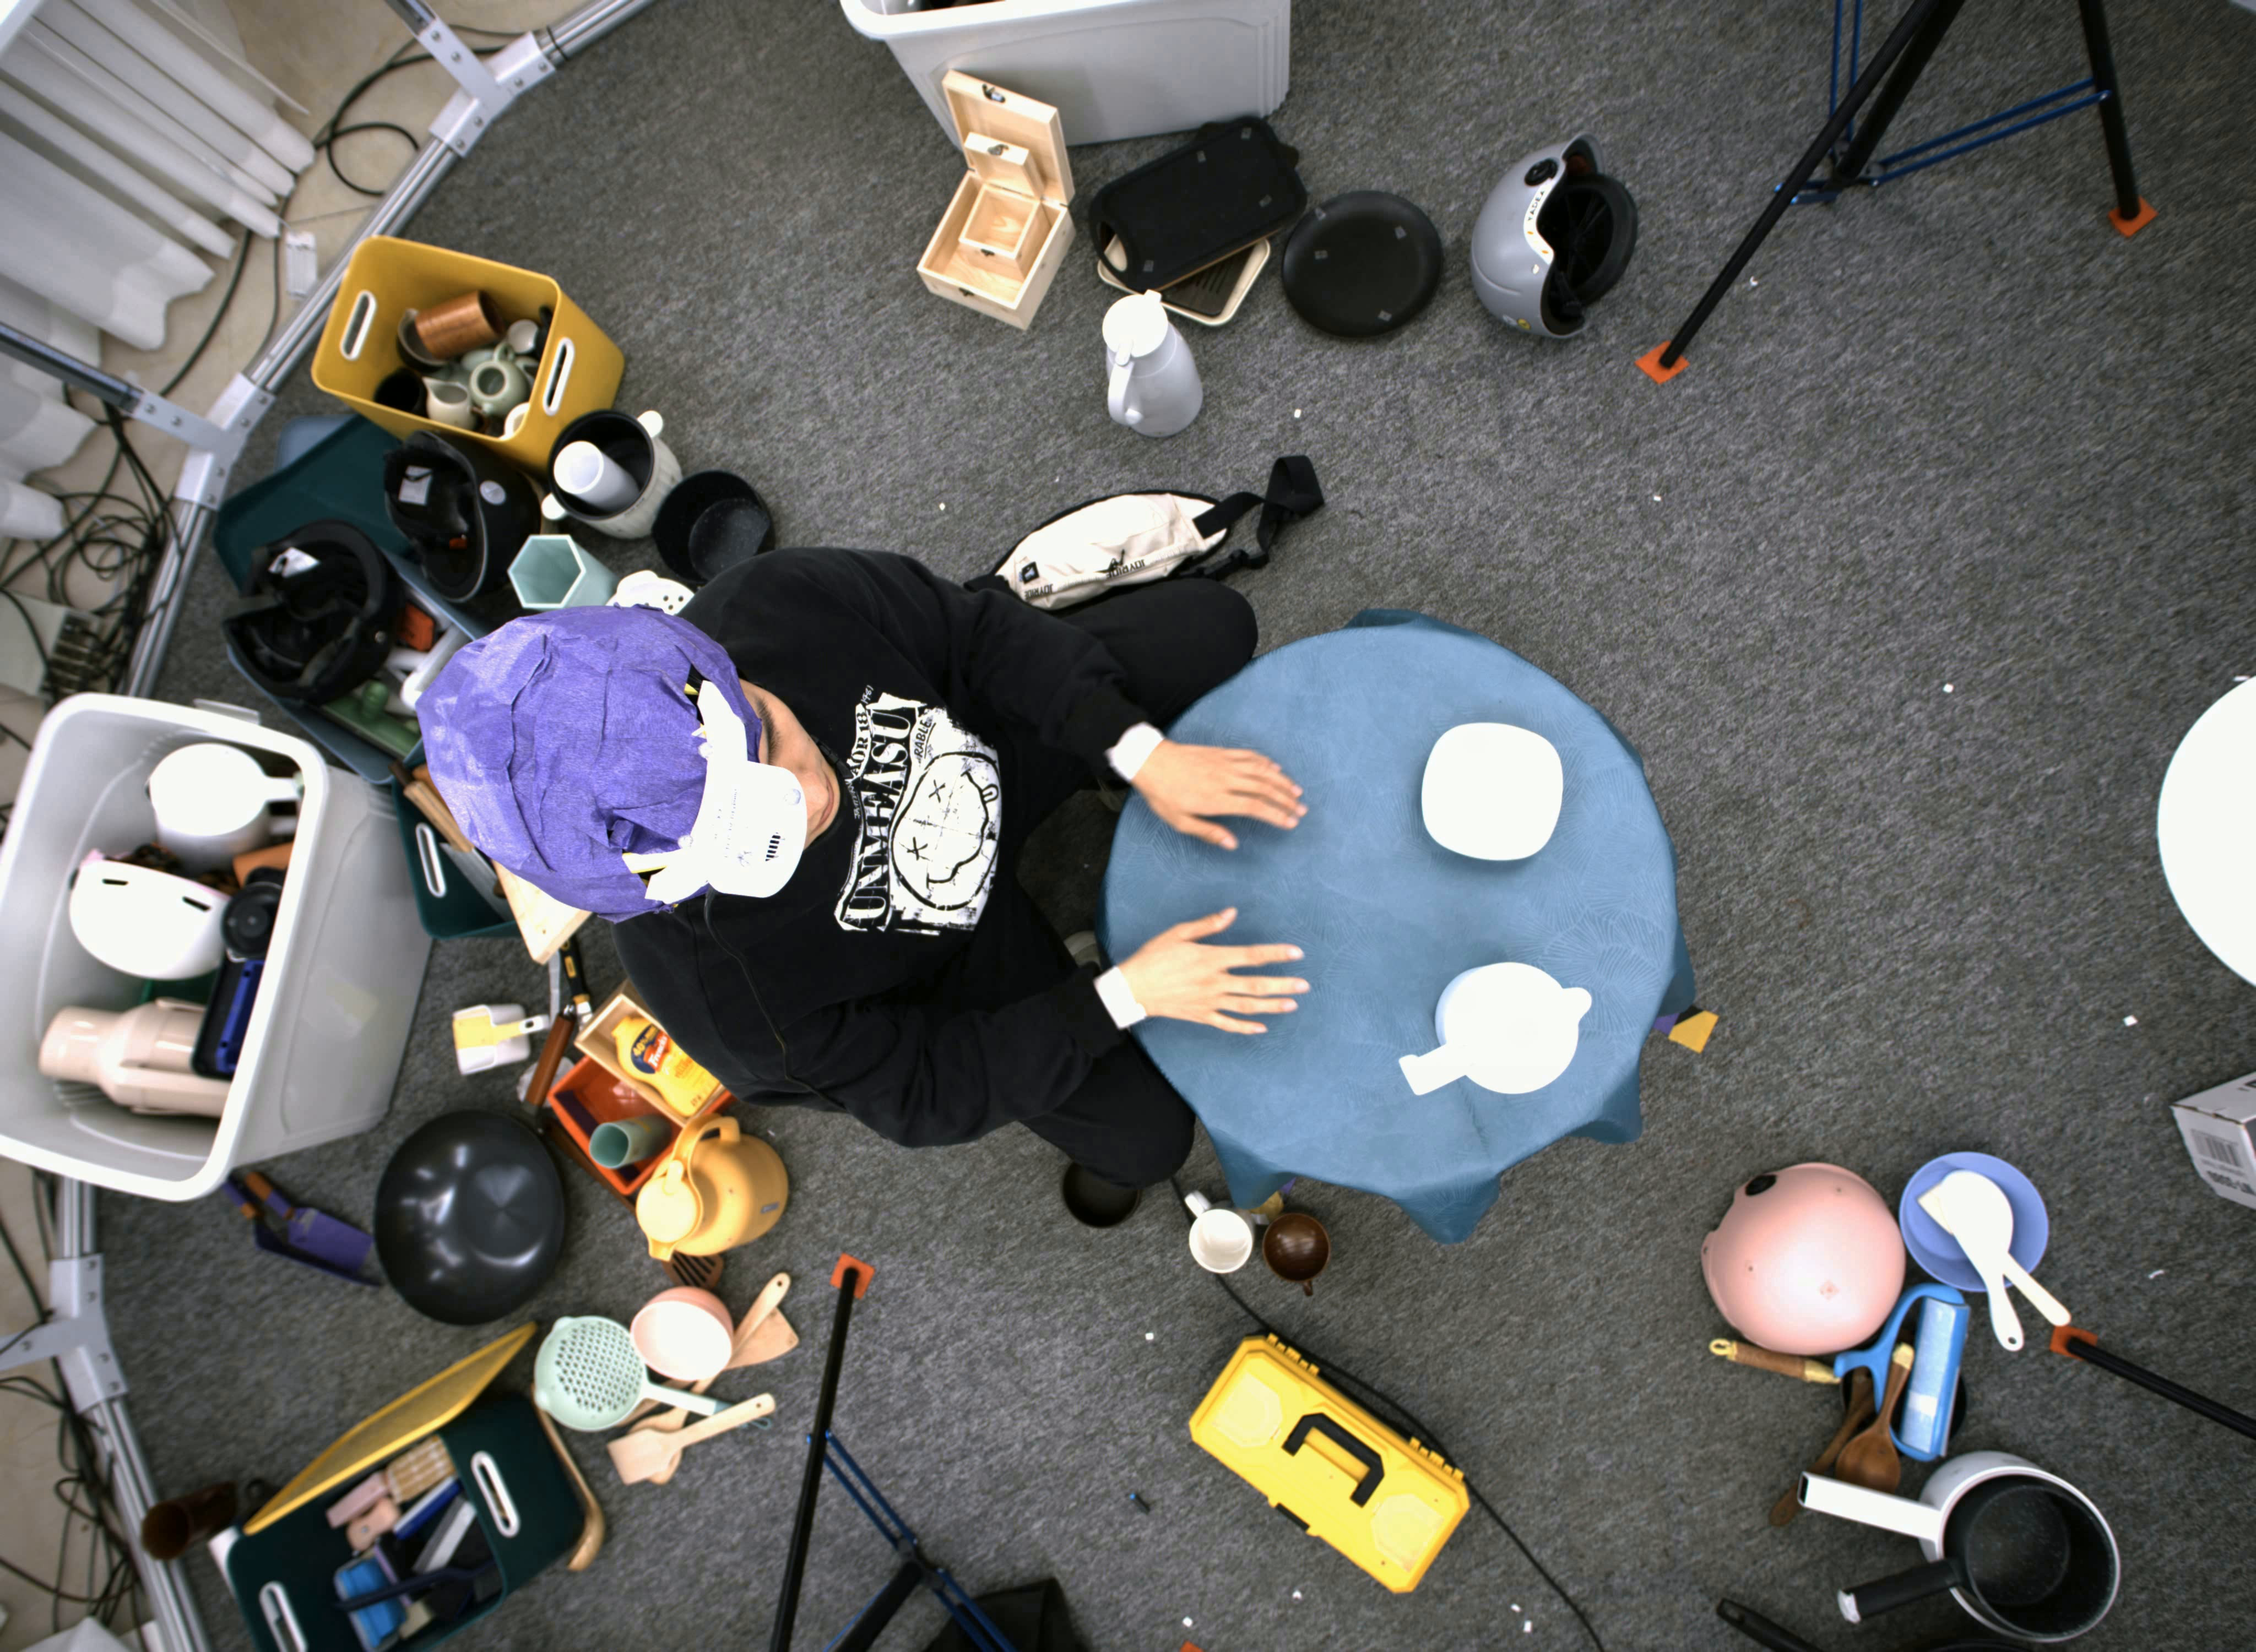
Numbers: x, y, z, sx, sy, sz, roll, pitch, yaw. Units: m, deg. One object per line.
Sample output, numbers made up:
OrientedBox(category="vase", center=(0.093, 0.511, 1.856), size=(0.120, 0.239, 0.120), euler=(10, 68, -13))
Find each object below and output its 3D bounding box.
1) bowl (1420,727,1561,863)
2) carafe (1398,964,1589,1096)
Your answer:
OrientedBox(category="bowl", center=(0.374, -0.032, 1.423), size=(0.152, 0.058, 0.151), euler=(-1, 87, 13))
OrientedBox(category="carafe", center=(0.340, 0.197, 1.307), size=(0.174, 0.269, 0.123), euler=(-28, 82, 7))
